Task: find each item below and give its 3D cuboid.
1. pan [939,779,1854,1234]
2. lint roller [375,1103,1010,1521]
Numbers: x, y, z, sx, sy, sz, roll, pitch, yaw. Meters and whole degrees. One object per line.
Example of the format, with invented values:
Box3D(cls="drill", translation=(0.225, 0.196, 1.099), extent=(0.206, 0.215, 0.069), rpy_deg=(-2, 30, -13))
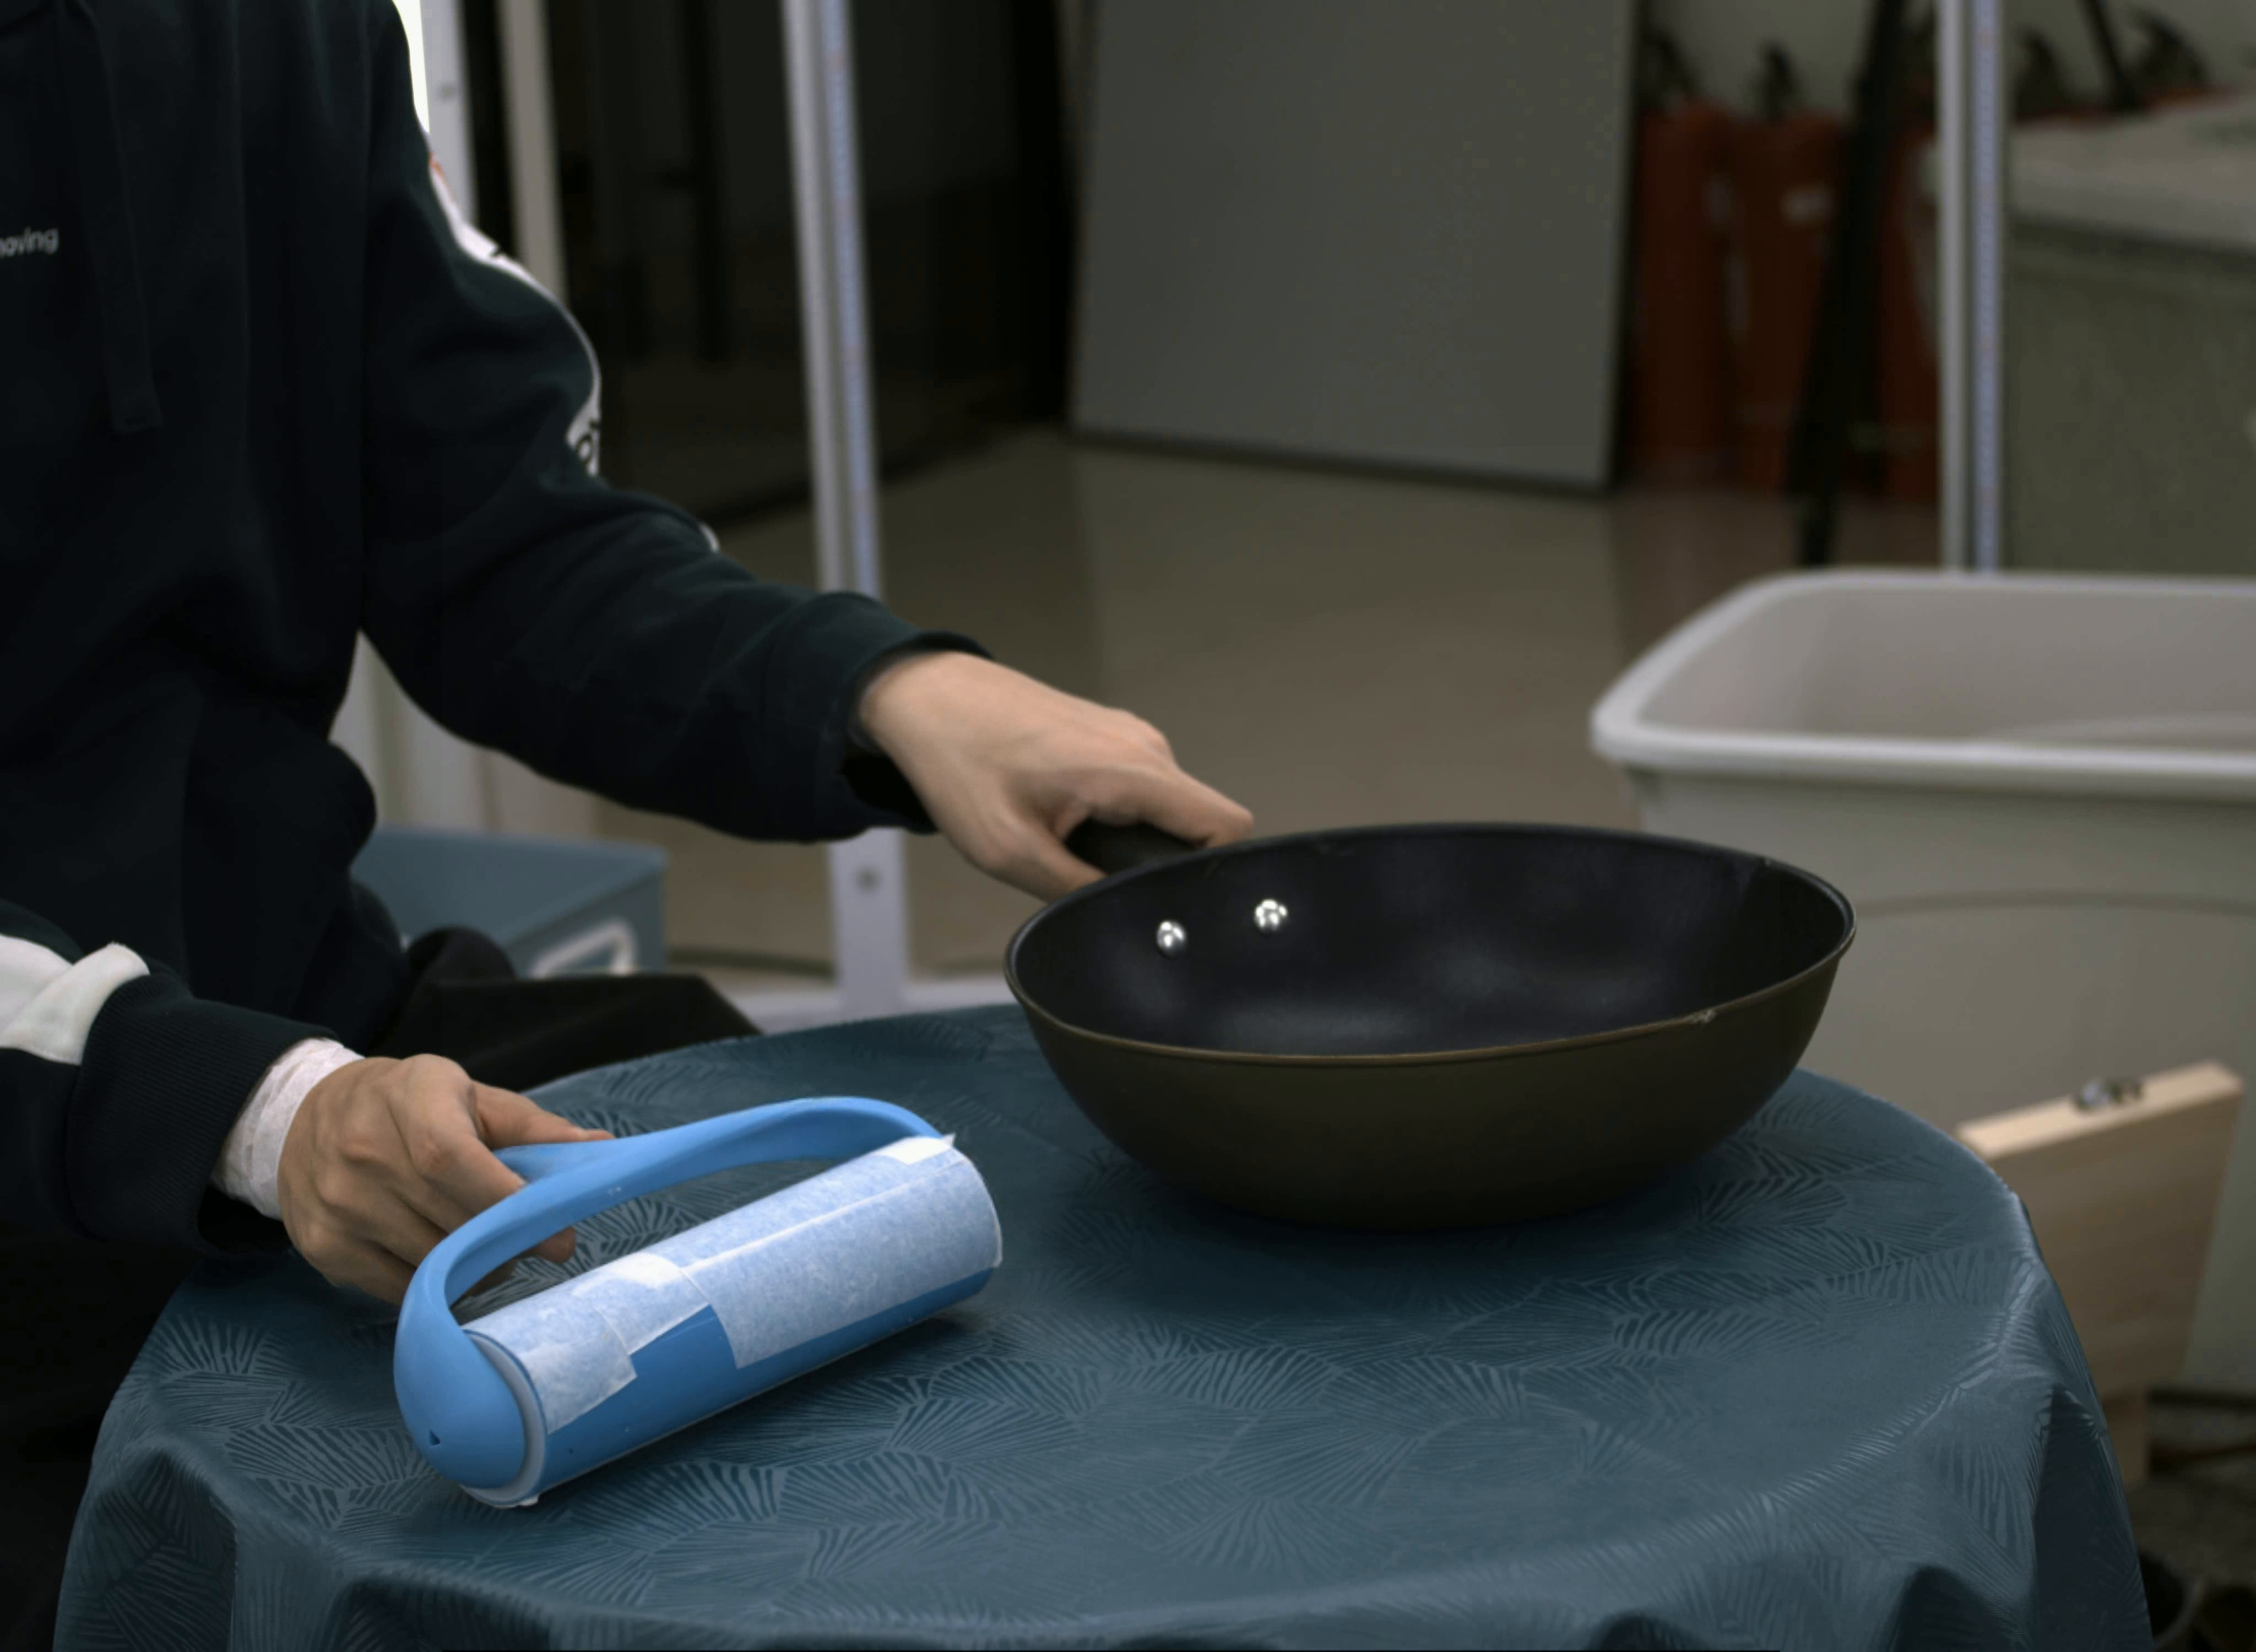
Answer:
Box3D(cls="pan", translation=(0.052, 0.057, 1.844), extent=(0.282, 0.088, 0.468), rpy_deg=(-11, 15, -29))
Box3D(cls="lint roller", translation=(-0.162, 0.132, 1.625), extent=(0.181, 0.068, 0.225), rpy_deg=(16, 26, 35))
